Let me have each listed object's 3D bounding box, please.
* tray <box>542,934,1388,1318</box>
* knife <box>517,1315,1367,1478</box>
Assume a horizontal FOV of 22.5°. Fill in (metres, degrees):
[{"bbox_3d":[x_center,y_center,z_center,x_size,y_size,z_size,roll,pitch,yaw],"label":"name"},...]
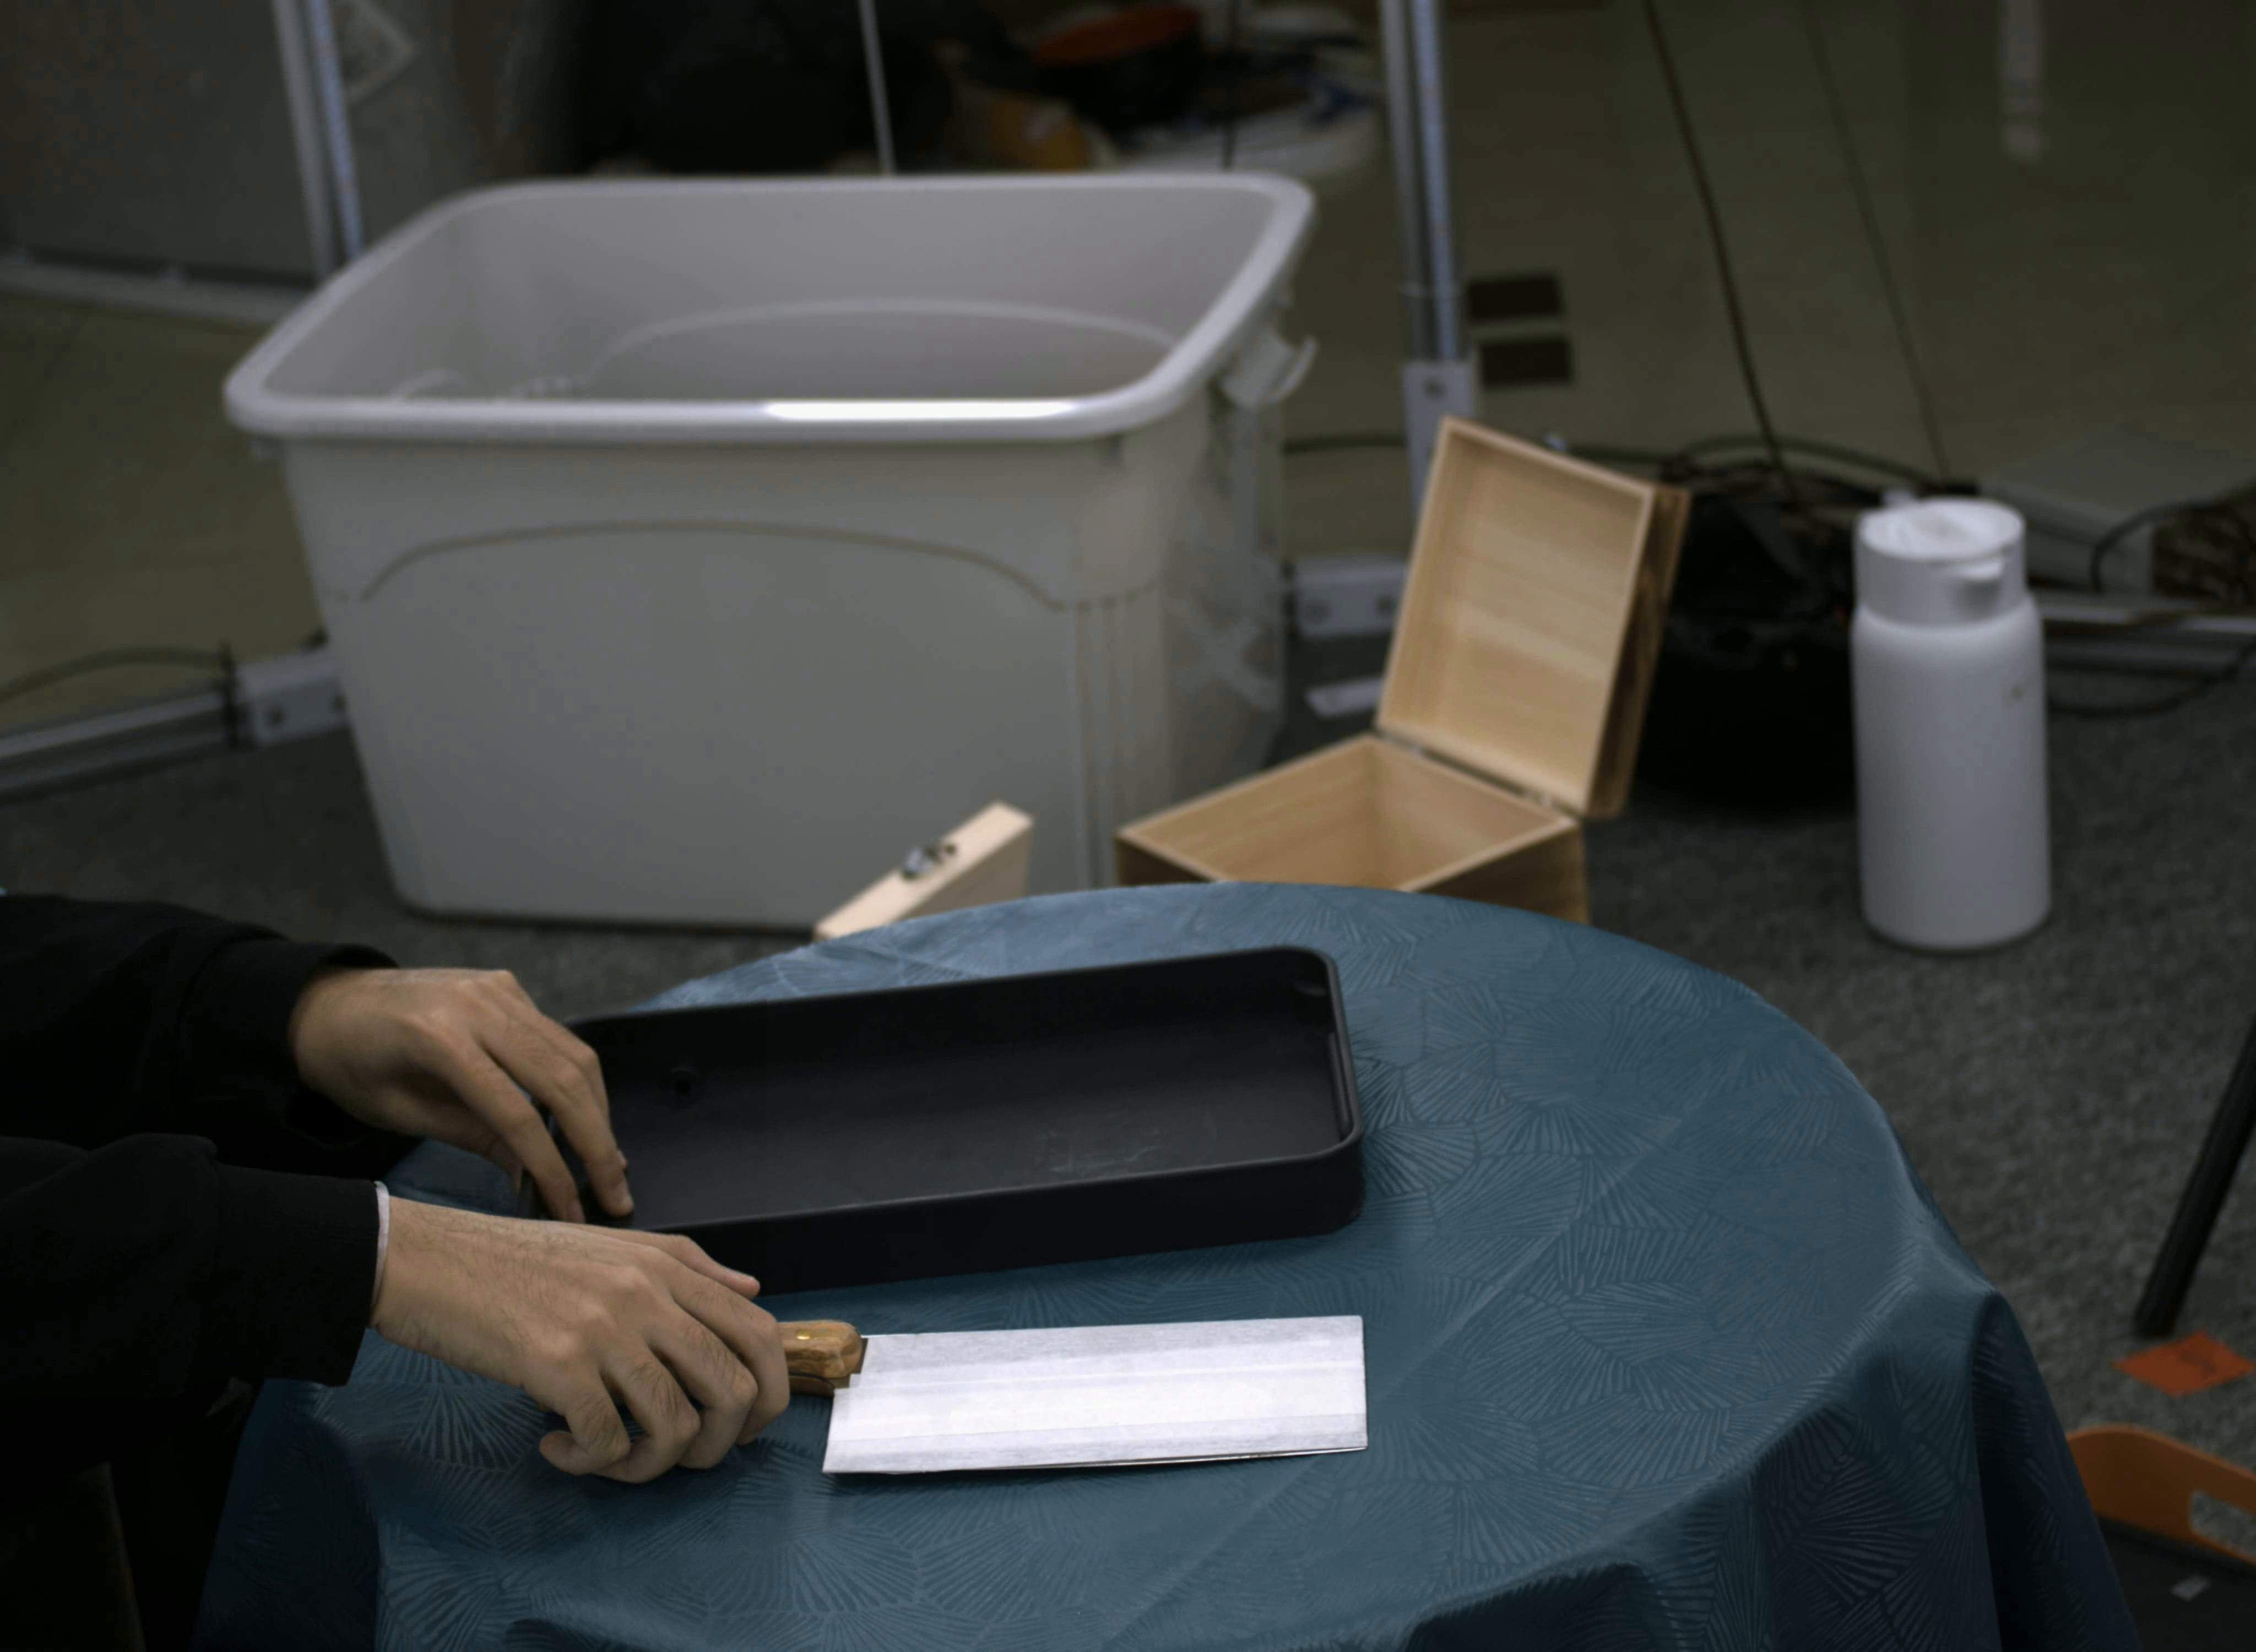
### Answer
[{"bbox_3d":[-0.064,0.113,2.176,0.317,0.037,0.181,-7,25,-1],"label":"tray"},{"bbox_3d":[-0.068,0.202,2.010,0.305,0.021,0.091,-3,27,3],"label":"knife"}]
